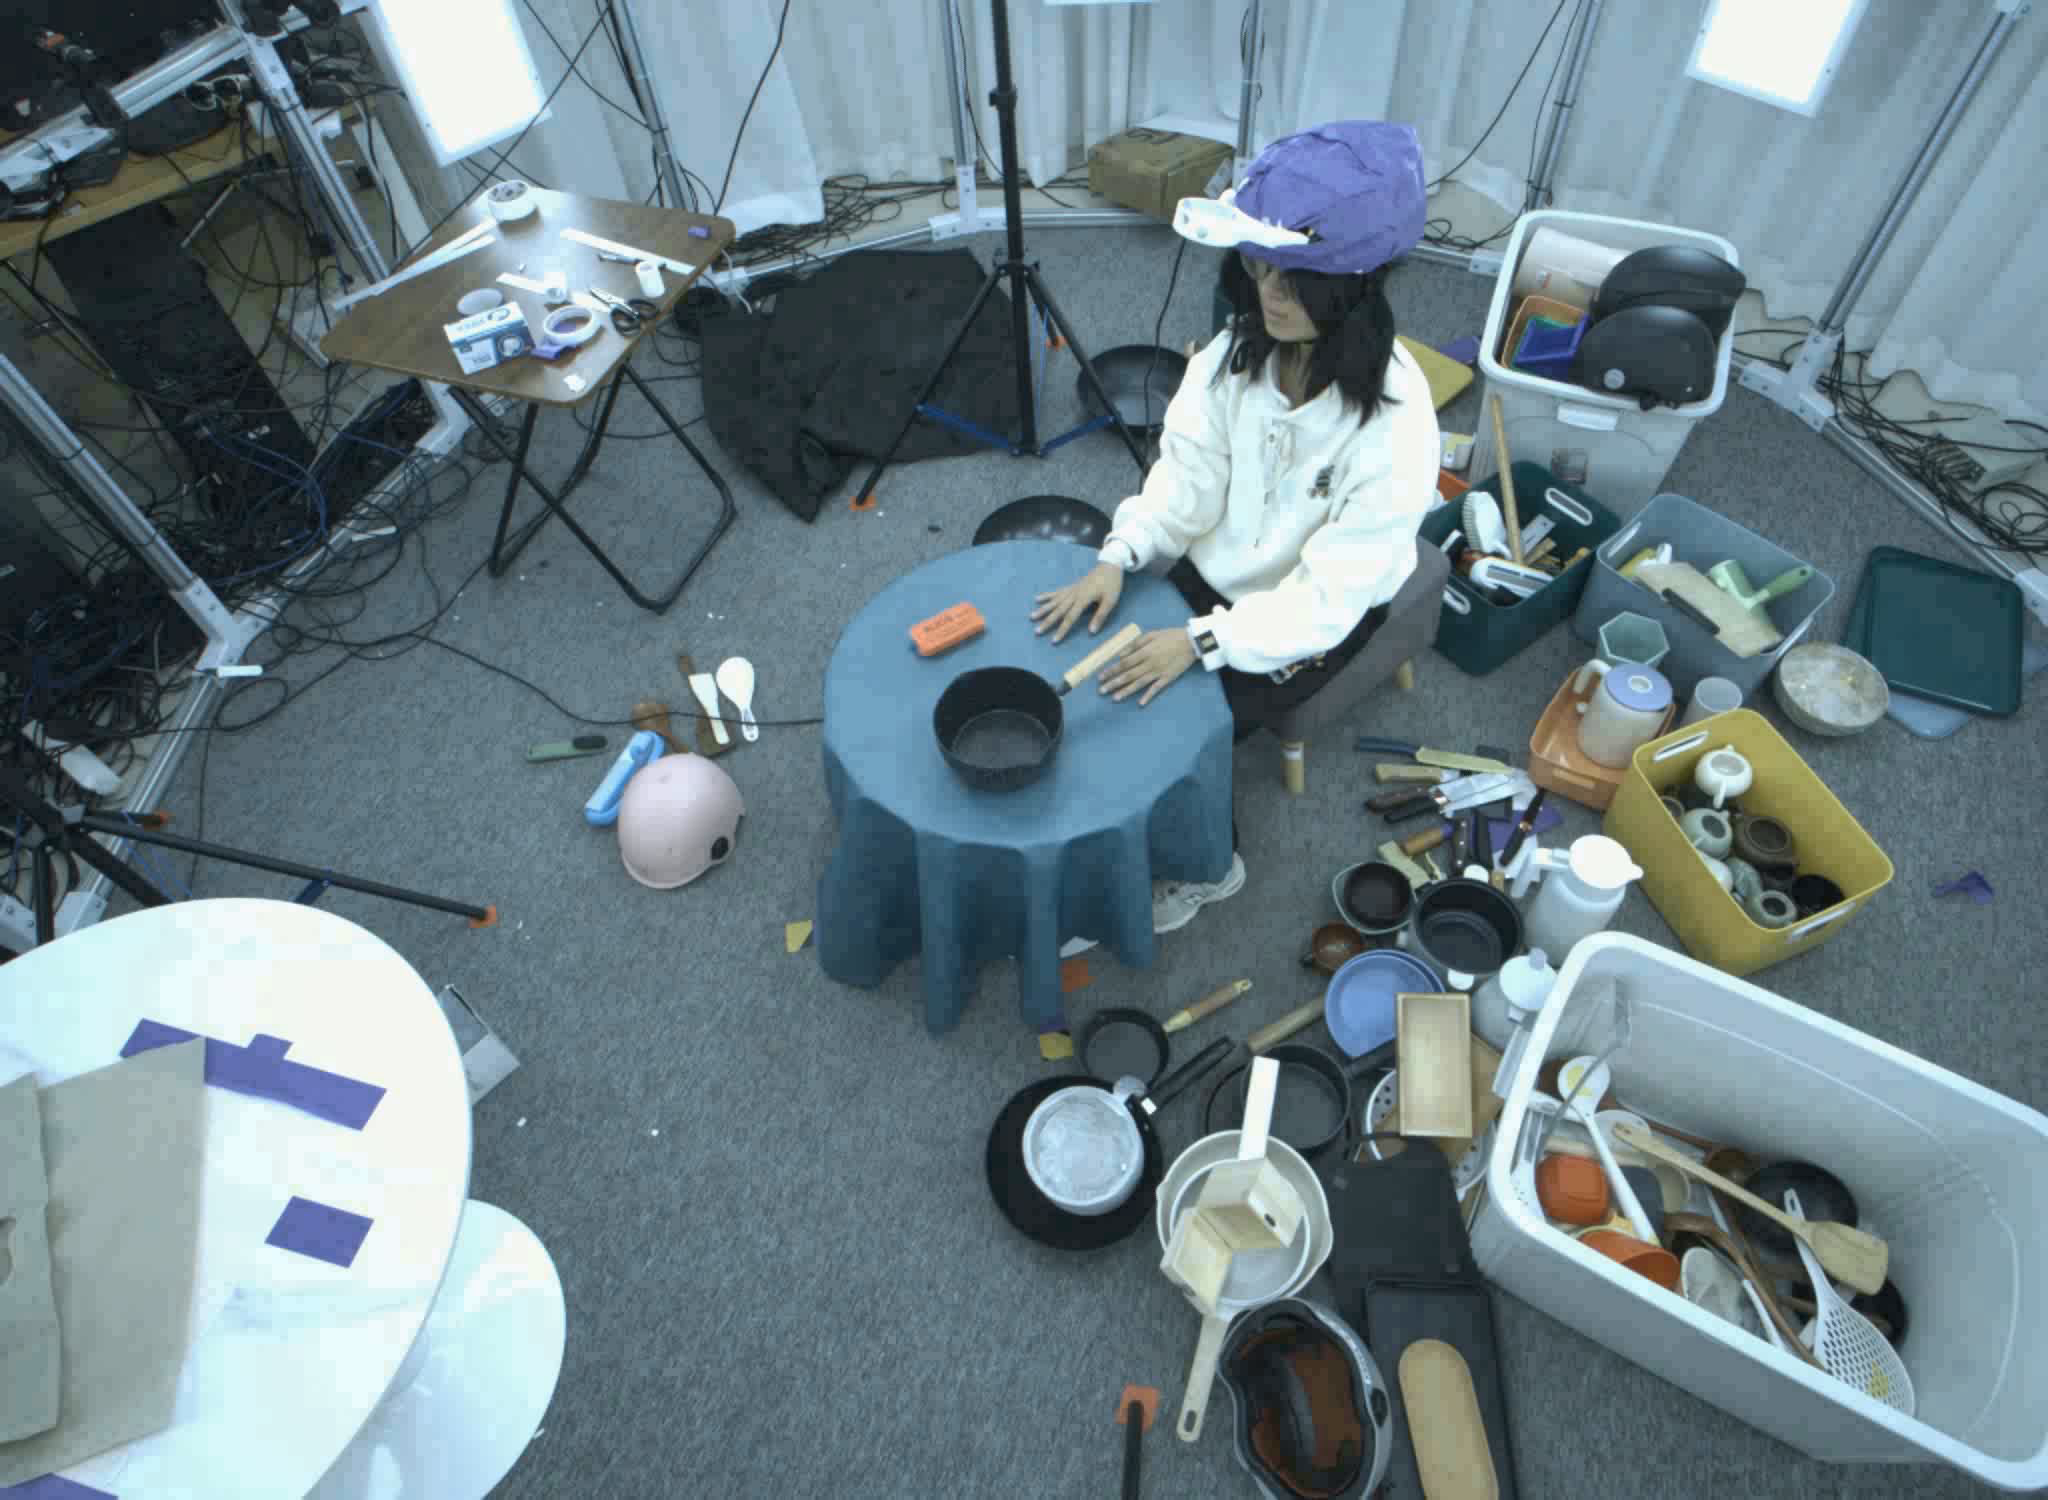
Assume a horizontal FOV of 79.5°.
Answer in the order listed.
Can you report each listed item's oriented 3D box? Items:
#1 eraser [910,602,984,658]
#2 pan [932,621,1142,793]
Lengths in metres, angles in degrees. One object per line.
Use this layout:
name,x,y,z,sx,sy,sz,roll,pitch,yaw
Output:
eraser,-0.121,-0.187,1.910,0.109,0.023,0.058,-28,57,-17
pan,0.029,-0.071,1.770,0.345,0.109,0.203,-33,59,-18
